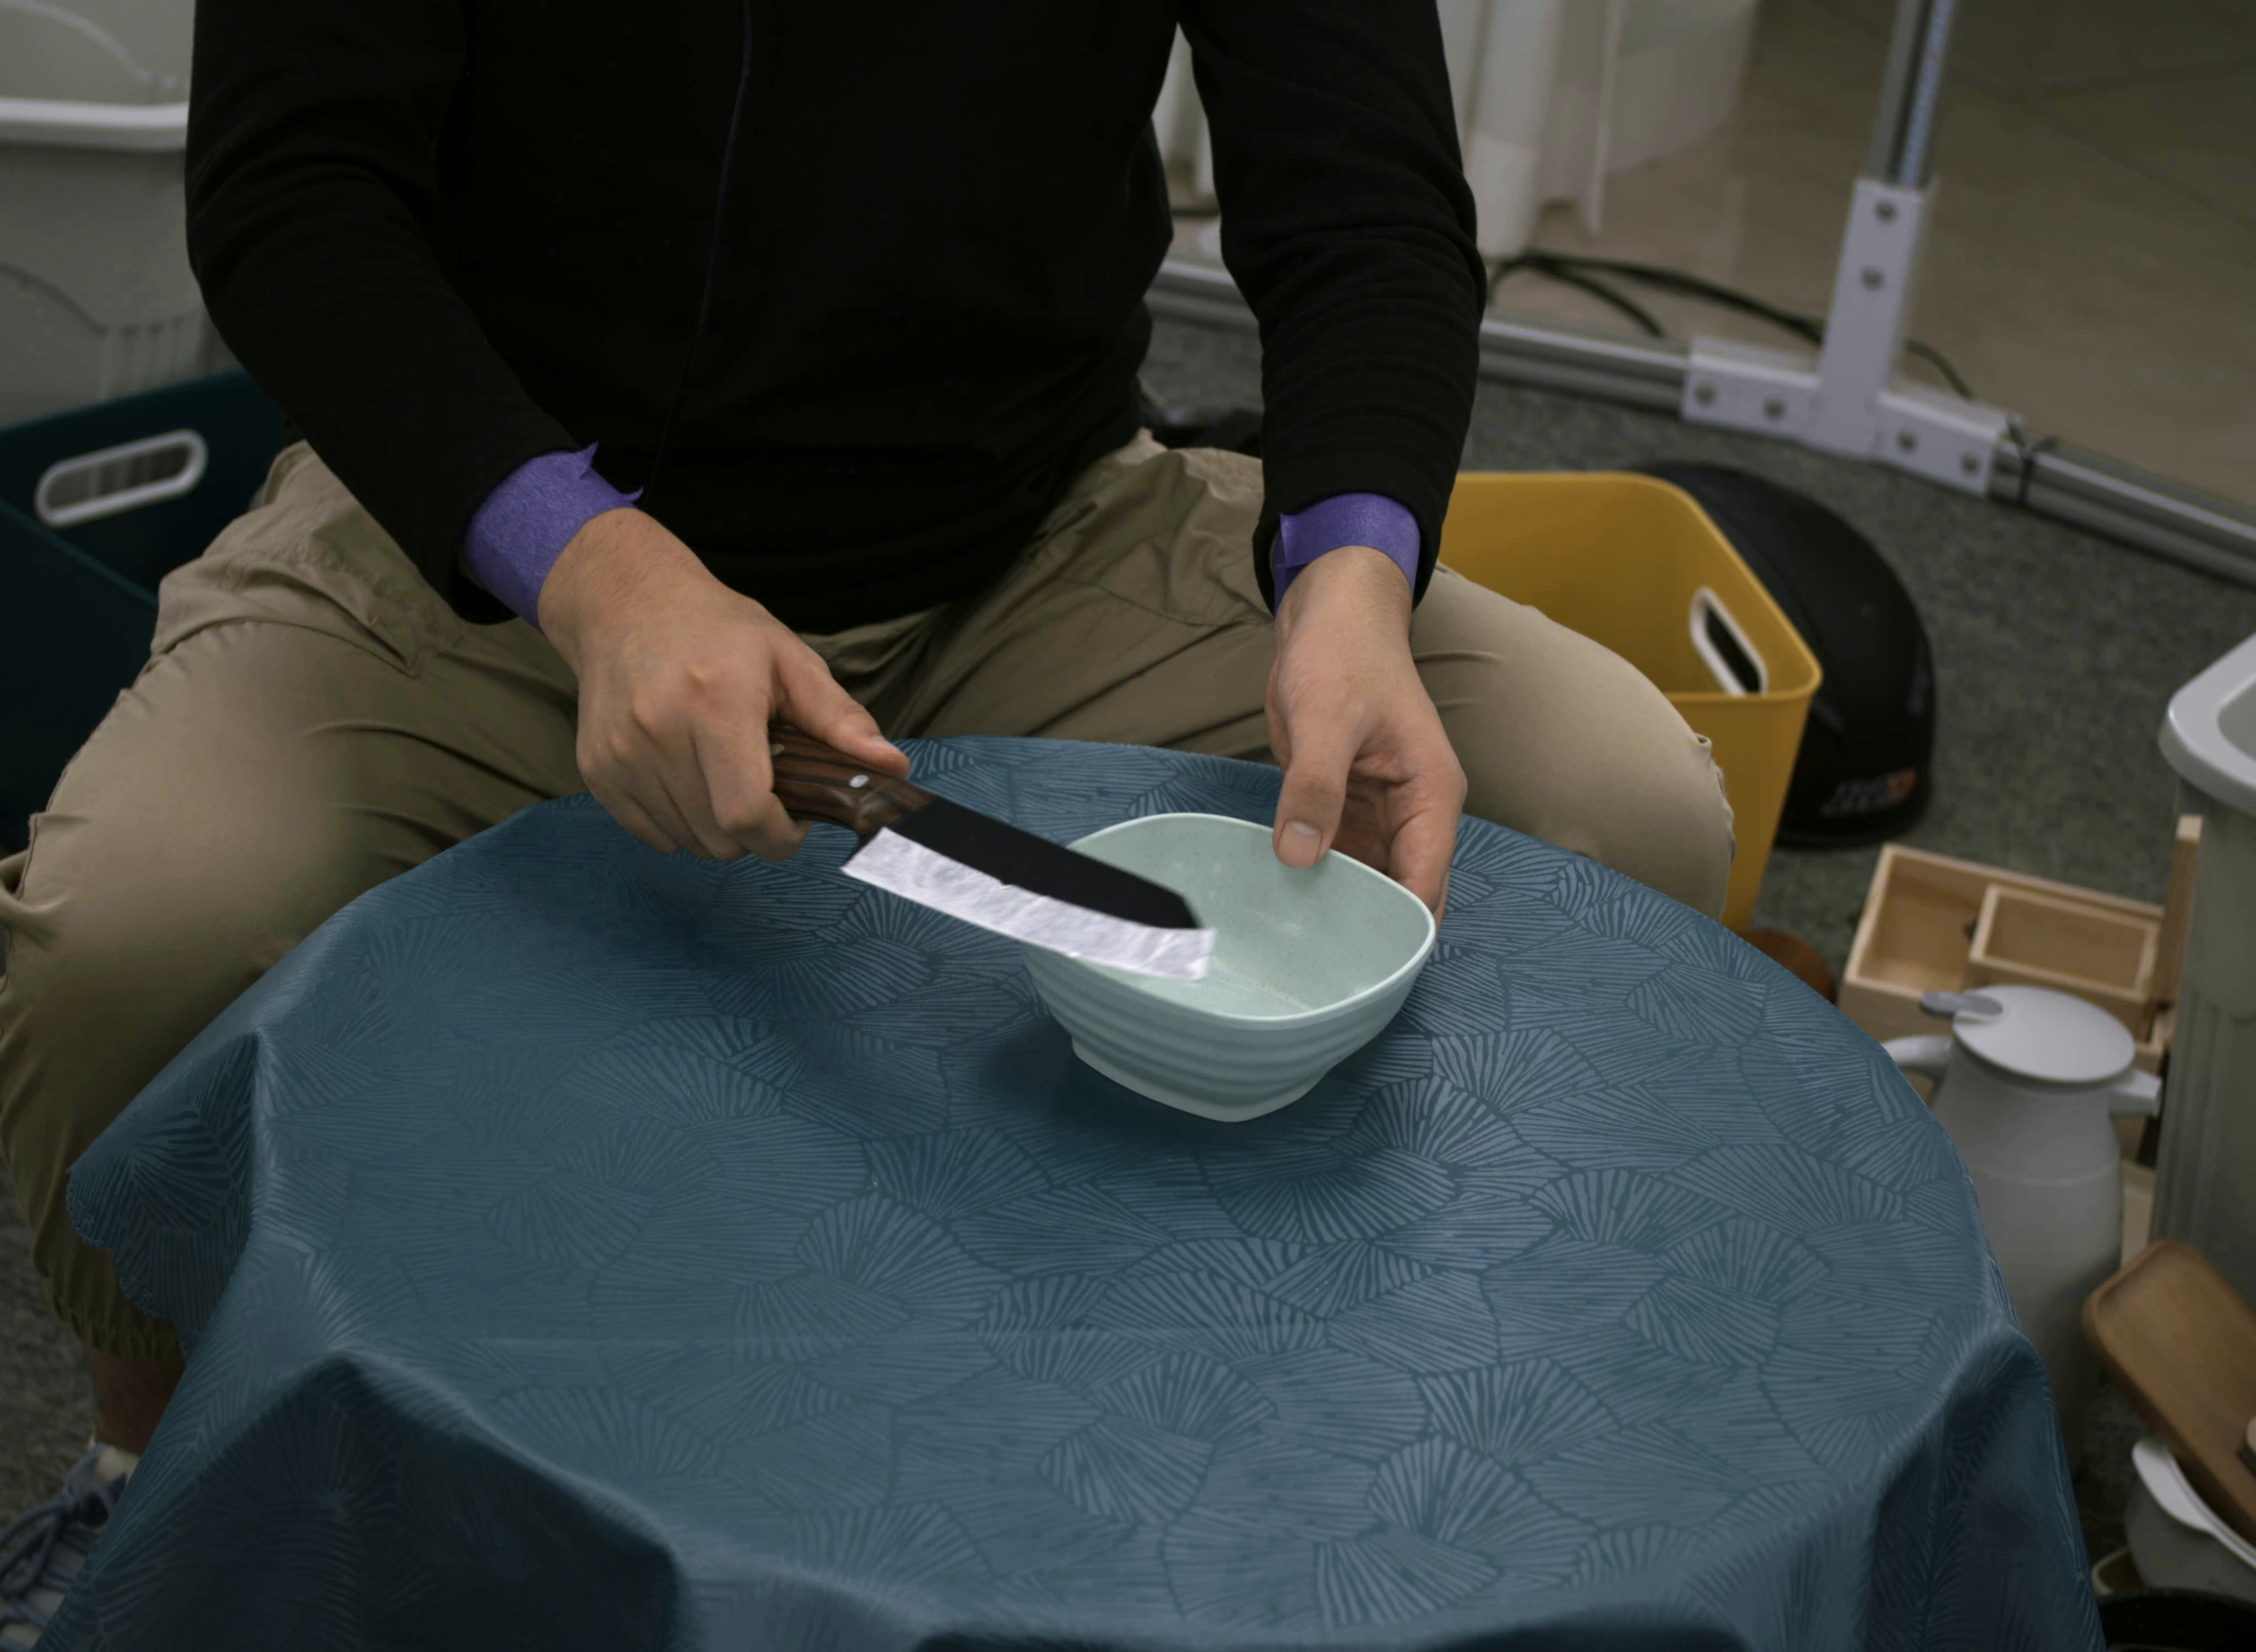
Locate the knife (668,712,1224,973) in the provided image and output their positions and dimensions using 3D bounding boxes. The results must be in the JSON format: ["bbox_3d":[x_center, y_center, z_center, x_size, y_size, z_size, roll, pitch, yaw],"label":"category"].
[{"bbox_3d":[-0.066,0.006,1.847,0.291,0.020,0.050,22,57,44],"label":"knife"}]

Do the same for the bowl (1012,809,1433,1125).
[{"bbox_3d":[0.030,0.056,1.884,0.151,0.058,0.152,6,28,-4],"label":"bowl"}]
